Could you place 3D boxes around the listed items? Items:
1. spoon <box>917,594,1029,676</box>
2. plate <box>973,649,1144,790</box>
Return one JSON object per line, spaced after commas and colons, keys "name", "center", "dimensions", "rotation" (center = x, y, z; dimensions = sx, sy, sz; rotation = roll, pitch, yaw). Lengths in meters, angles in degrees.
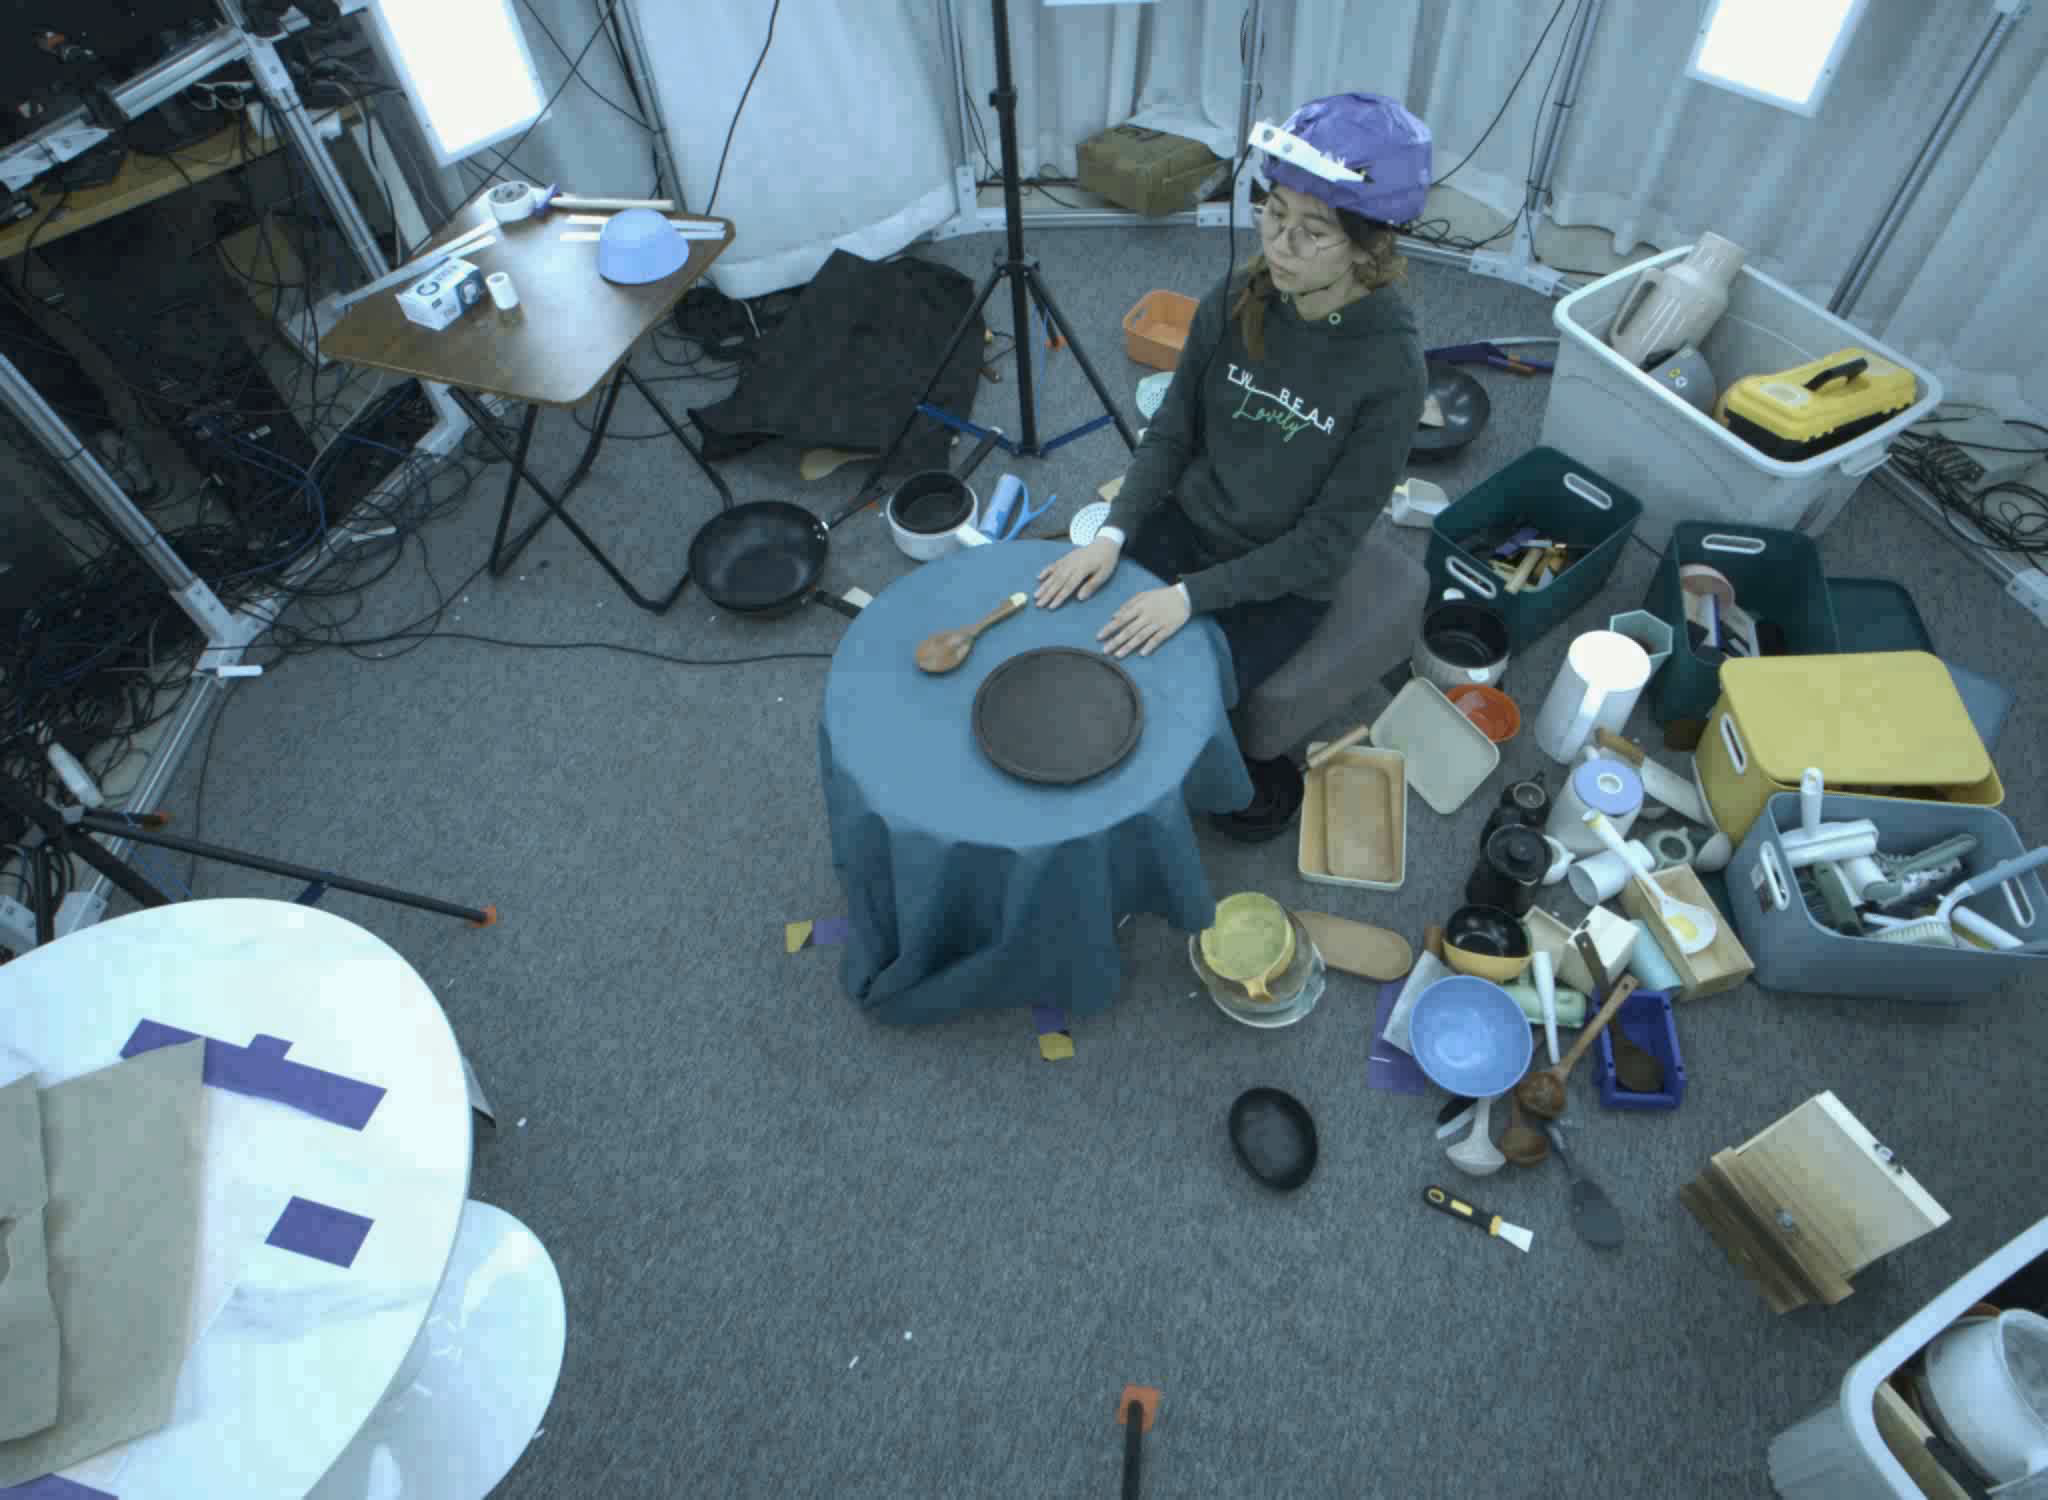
{"name": "spoon", "center": [-0.075, -0.181, 1.917], "dimensions": [0.217, 0.017, 0.074], "rotation": [-38, 62, -22]}
{"name": "plate", "center": [0.051, -0.047, 1.816], "dimensions": [0.254, 0.029, 0.252], "rotation": [-1, 56, 2]}
